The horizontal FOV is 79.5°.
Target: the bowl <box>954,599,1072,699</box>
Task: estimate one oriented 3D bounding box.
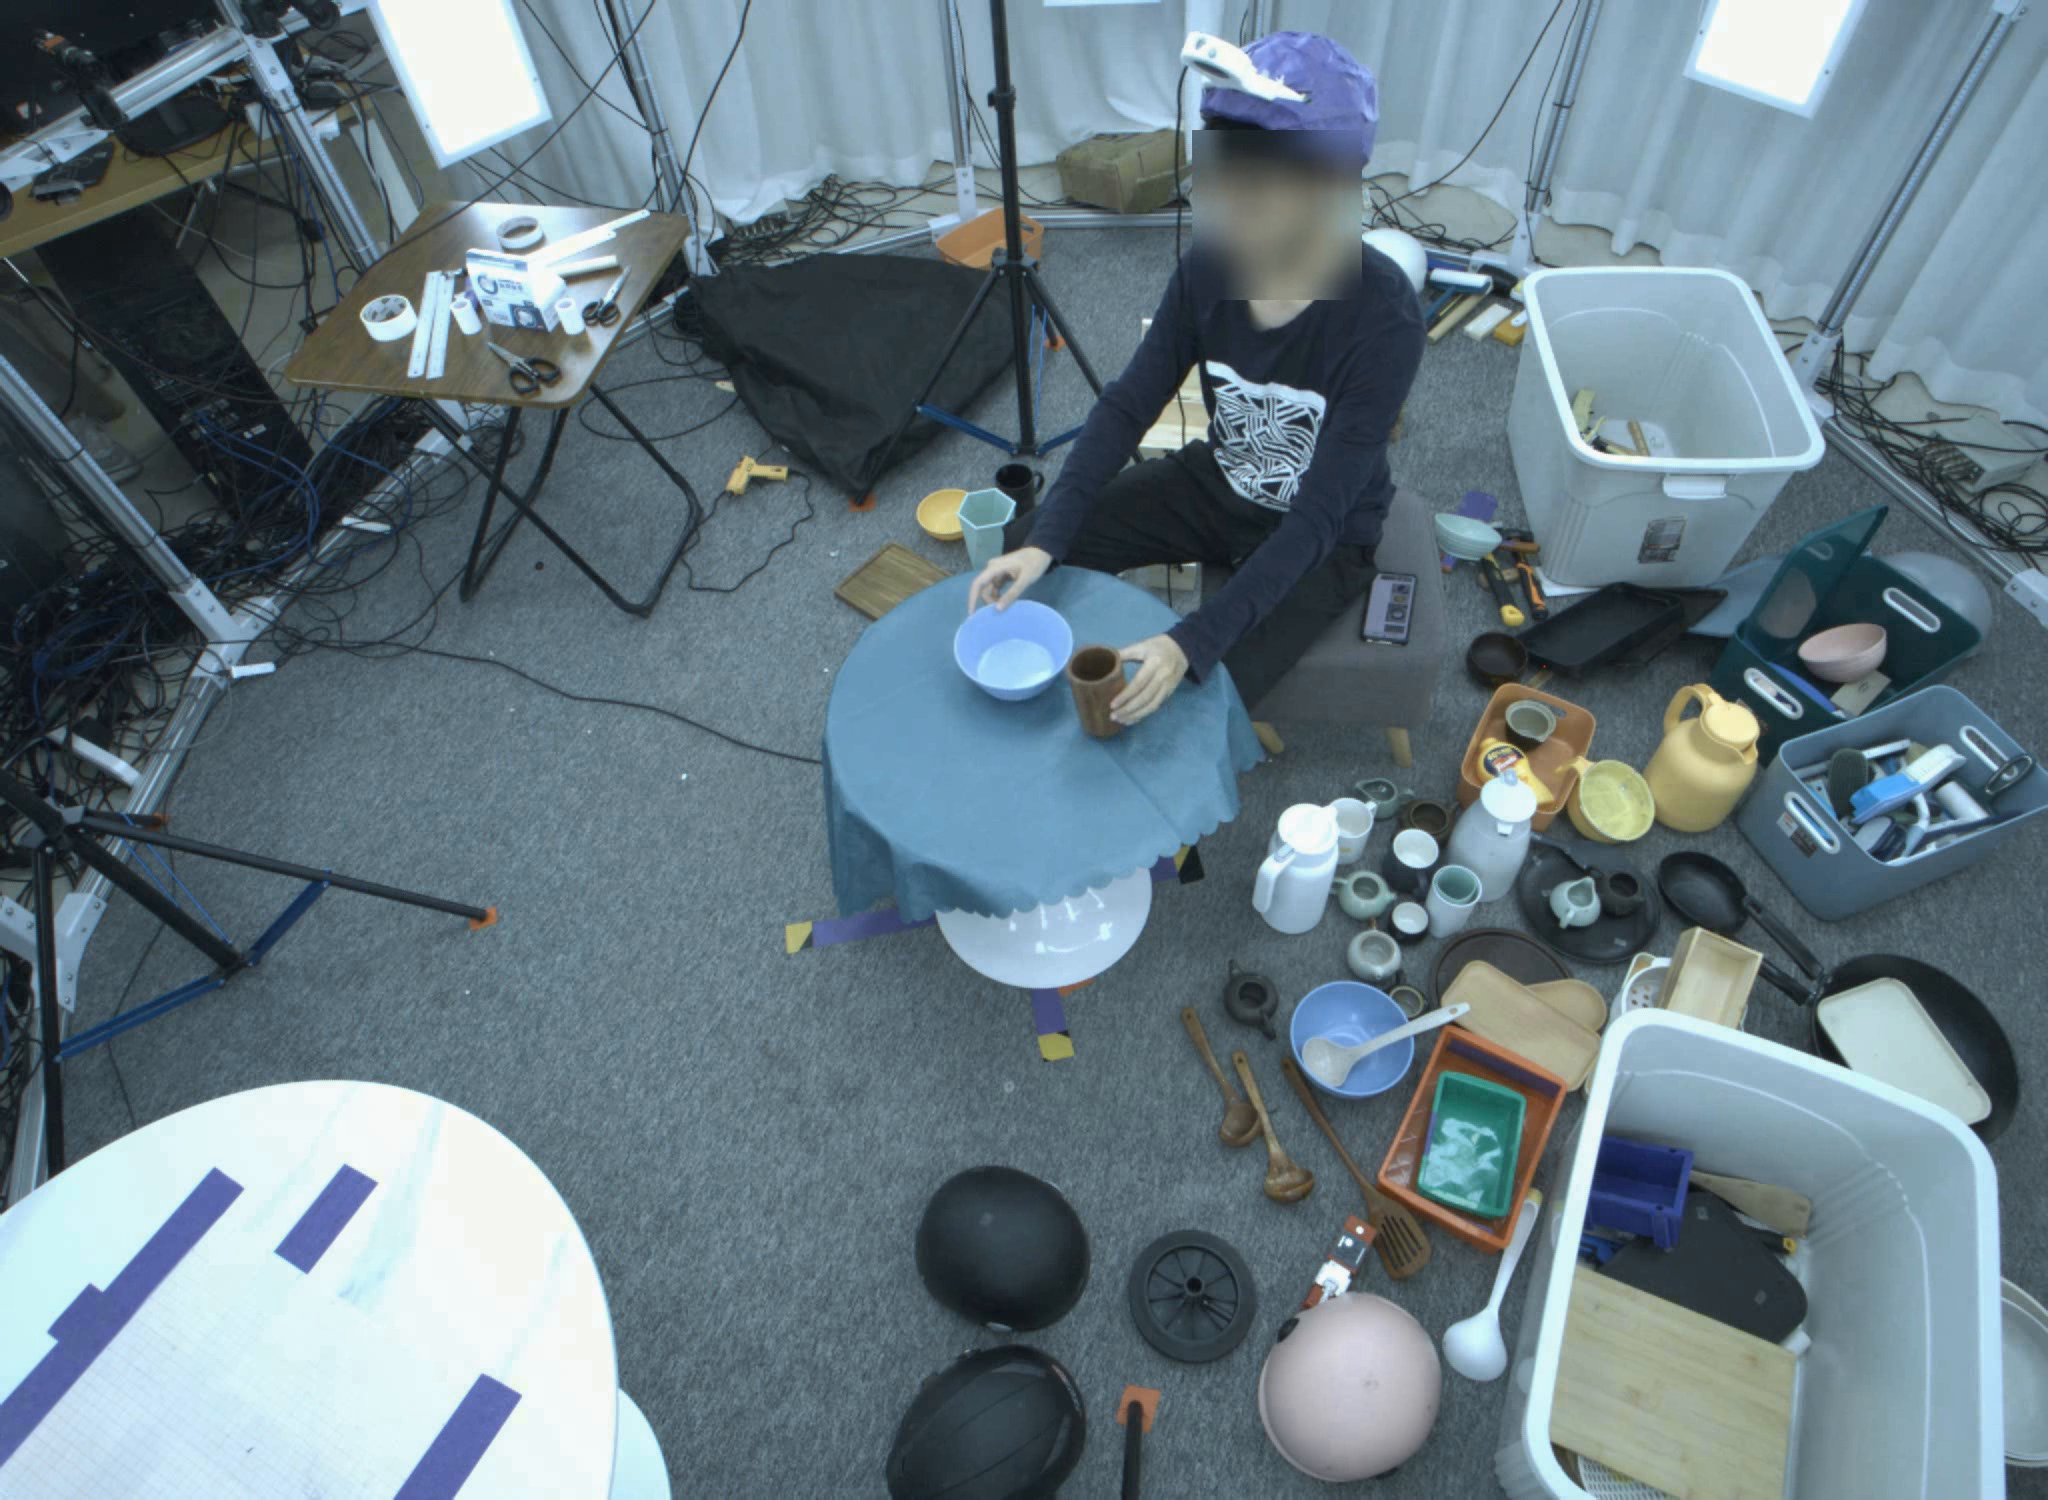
[{"bbox_3d":[-0.015,-0.141,1.837,0.176,0.071,0.174,0,54,1],"label":"bowl"}]

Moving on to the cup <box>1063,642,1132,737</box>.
[{"bbox_3d":[0.105,-0.085,1.743,0.087,0.120,0.087,-6,50,8],"label":"cup"}]
